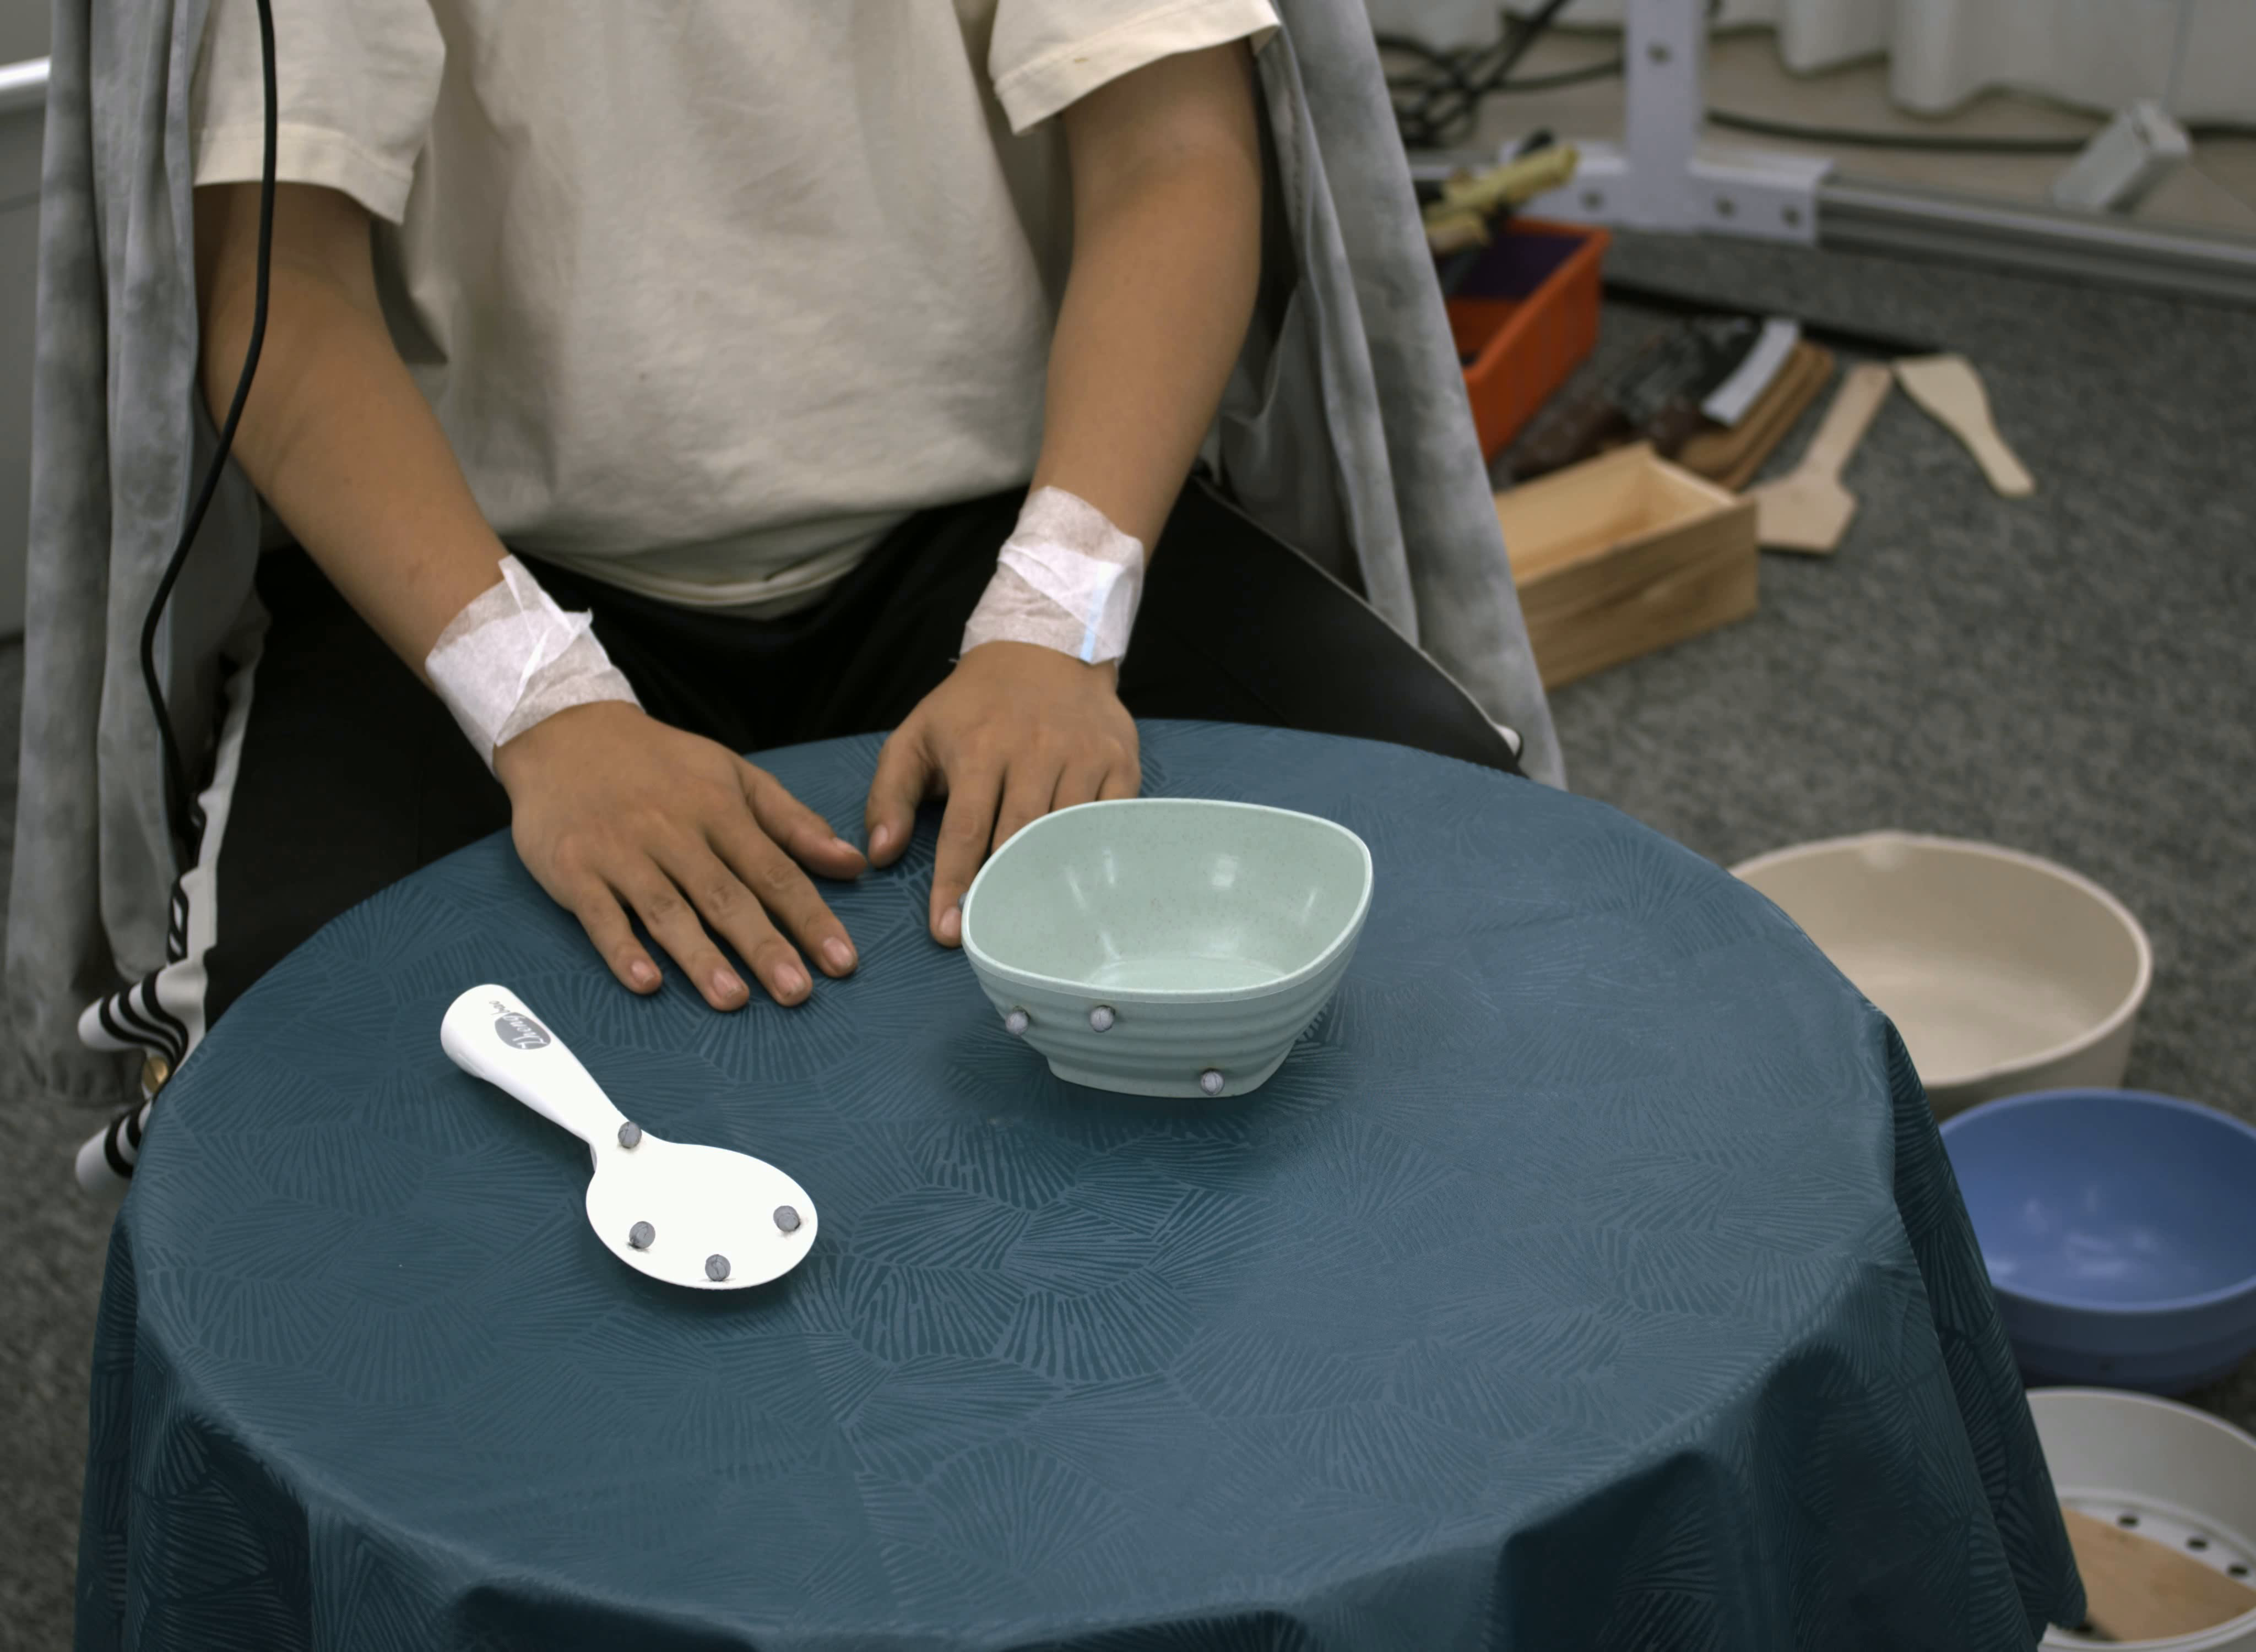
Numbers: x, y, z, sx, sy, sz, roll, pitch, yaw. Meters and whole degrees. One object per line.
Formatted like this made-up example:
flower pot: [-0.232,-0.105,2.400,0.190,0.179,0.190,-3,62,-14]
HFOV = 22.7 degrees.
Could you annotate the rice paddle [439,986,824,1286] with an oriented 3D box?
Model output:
rice paddle: [-0.169,0.105,1.876,0.069,0.029,0.206,-21,32,-28]

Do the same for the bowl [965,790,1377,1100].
bowl: [0.017,0.047,1.938,0.150,0.058,0.154,-5,29,3]
